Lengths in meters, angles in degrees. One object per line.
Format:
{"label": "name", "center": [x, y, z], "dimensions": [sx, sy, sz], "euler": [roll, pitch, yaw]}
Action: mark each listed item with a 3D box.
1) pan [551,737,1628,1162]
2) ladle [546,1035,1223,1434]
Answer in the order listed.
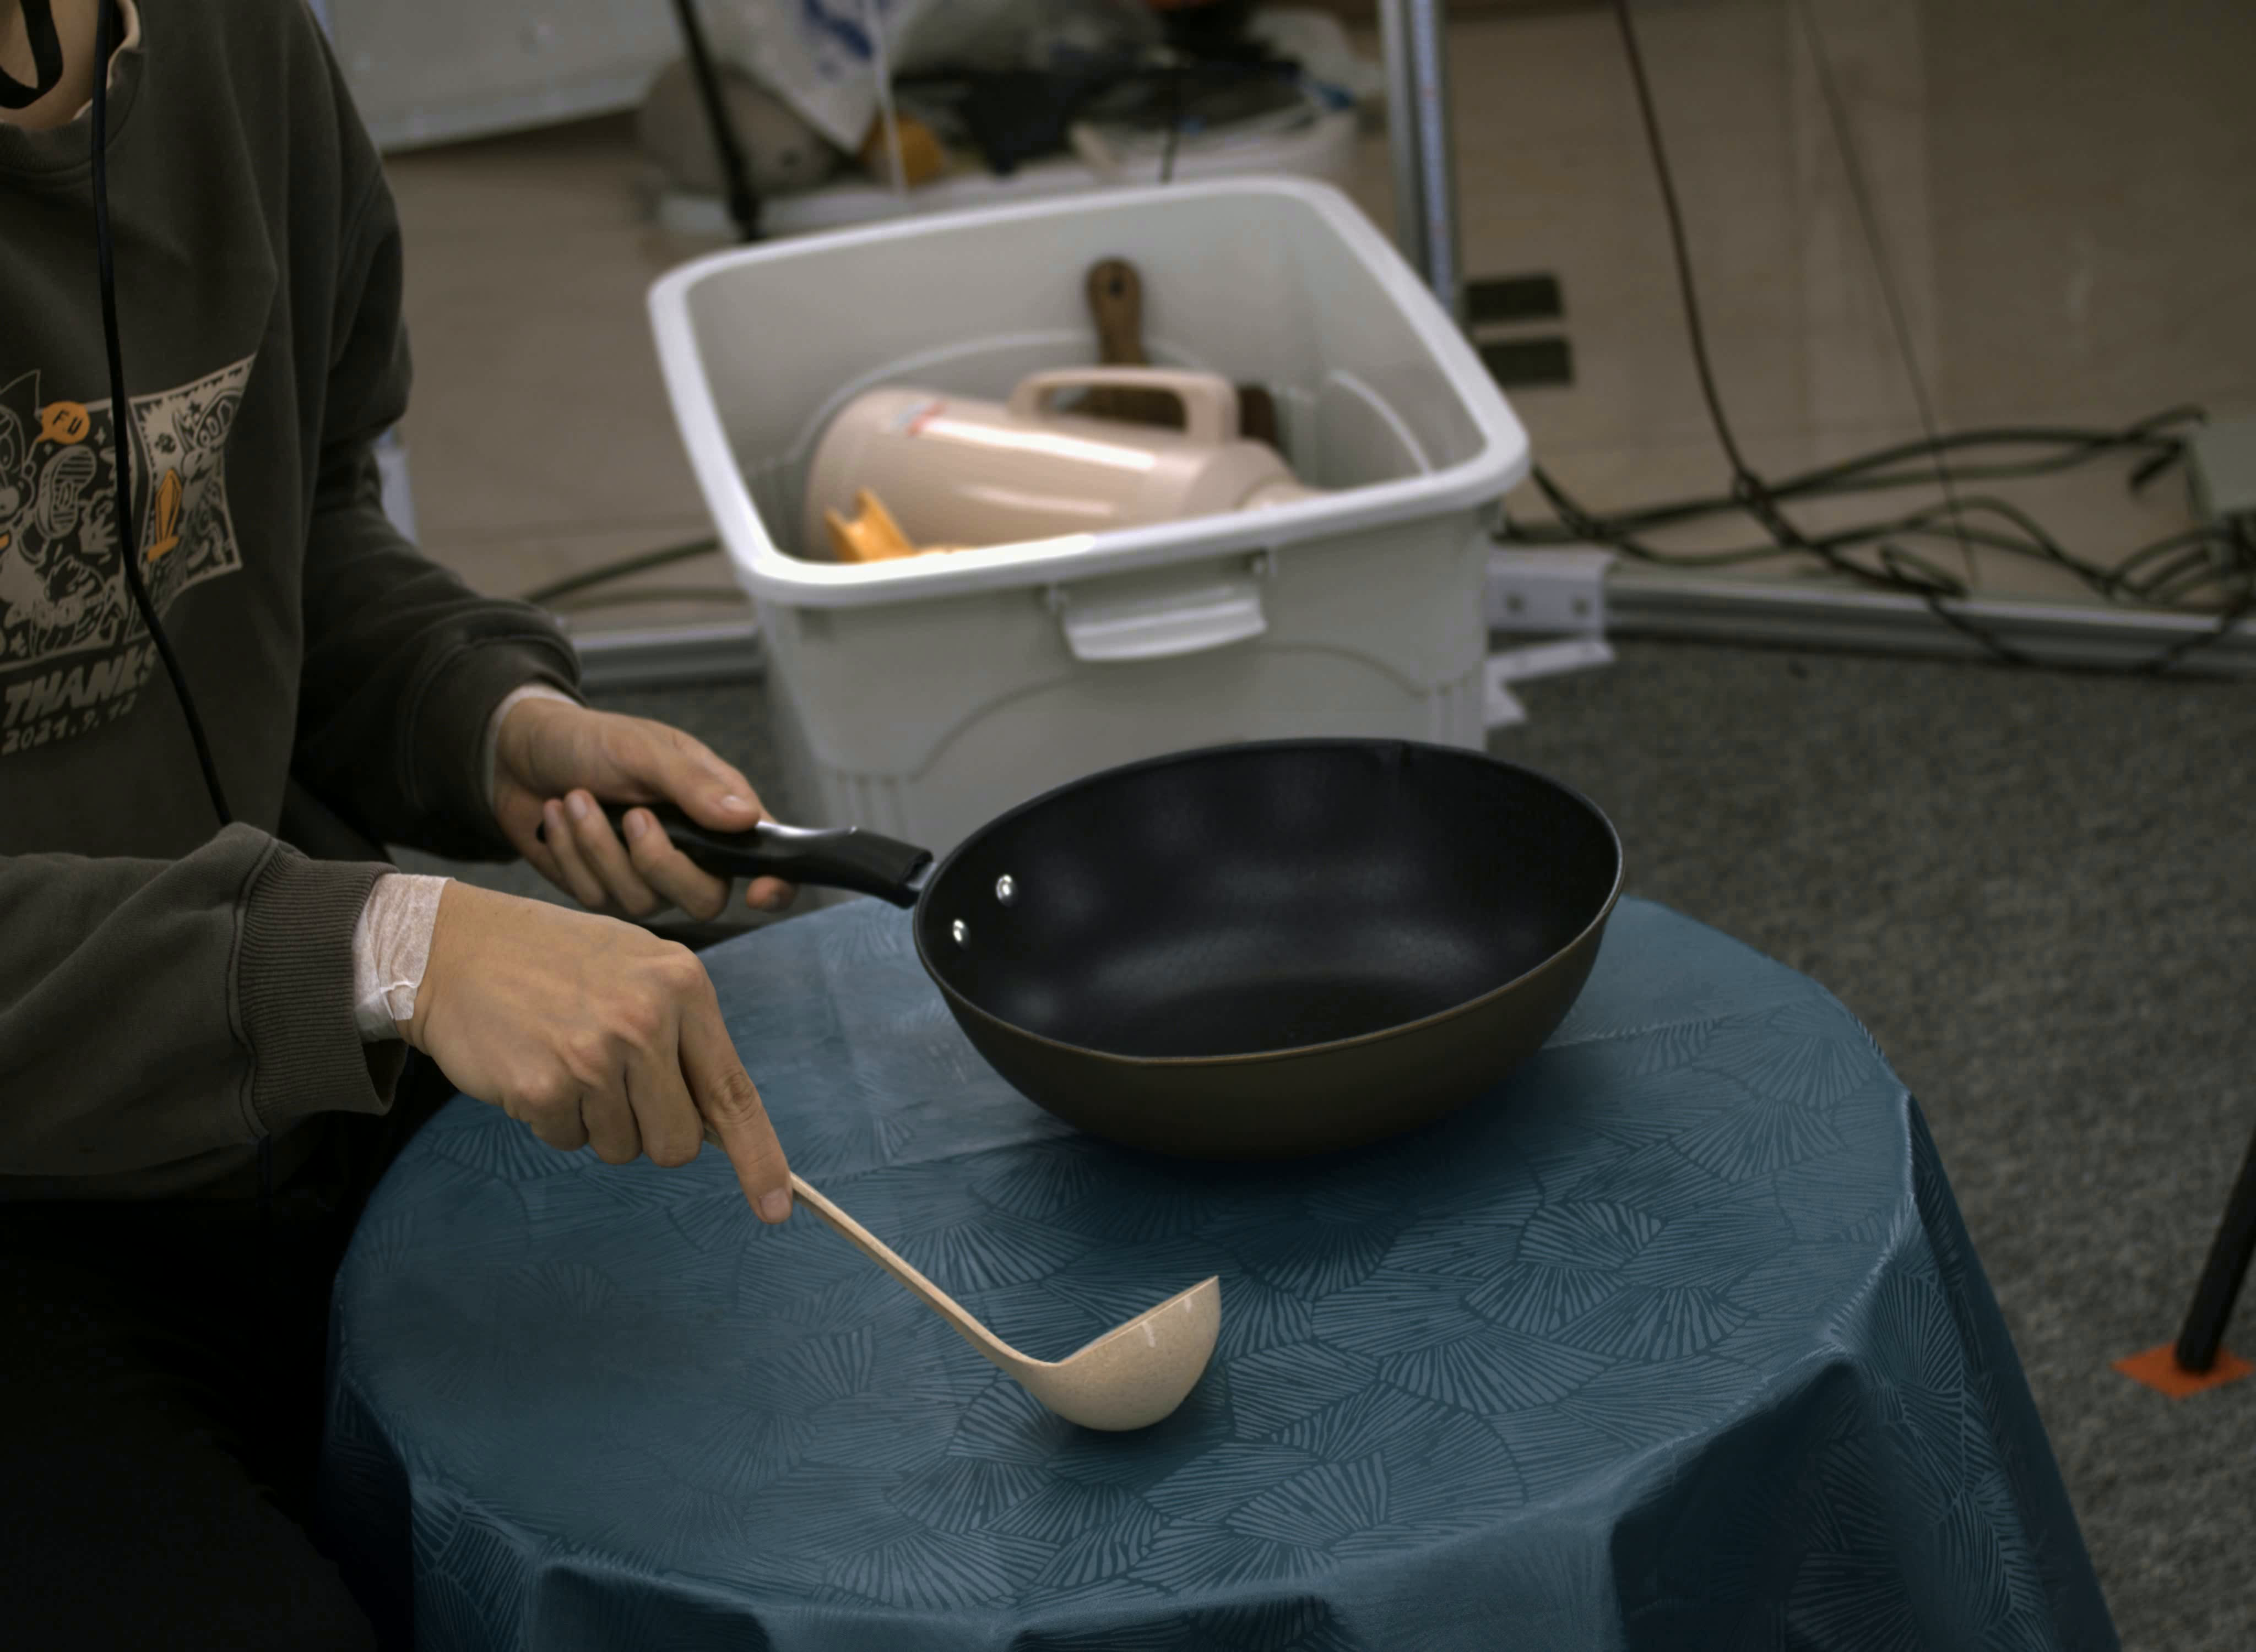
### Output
{"label": "pan", "center": [-0.024, 0.050, 2.242], "dimensions": [0.462, 0.088, 0.284], "euler": [5, 28, 25]}
{"label": "ladle", "center": [-0.079, 0.119, 1.965], "dimensions": [0.072, 0.255, 0.072], "euler": [-55, 10, -14]}
